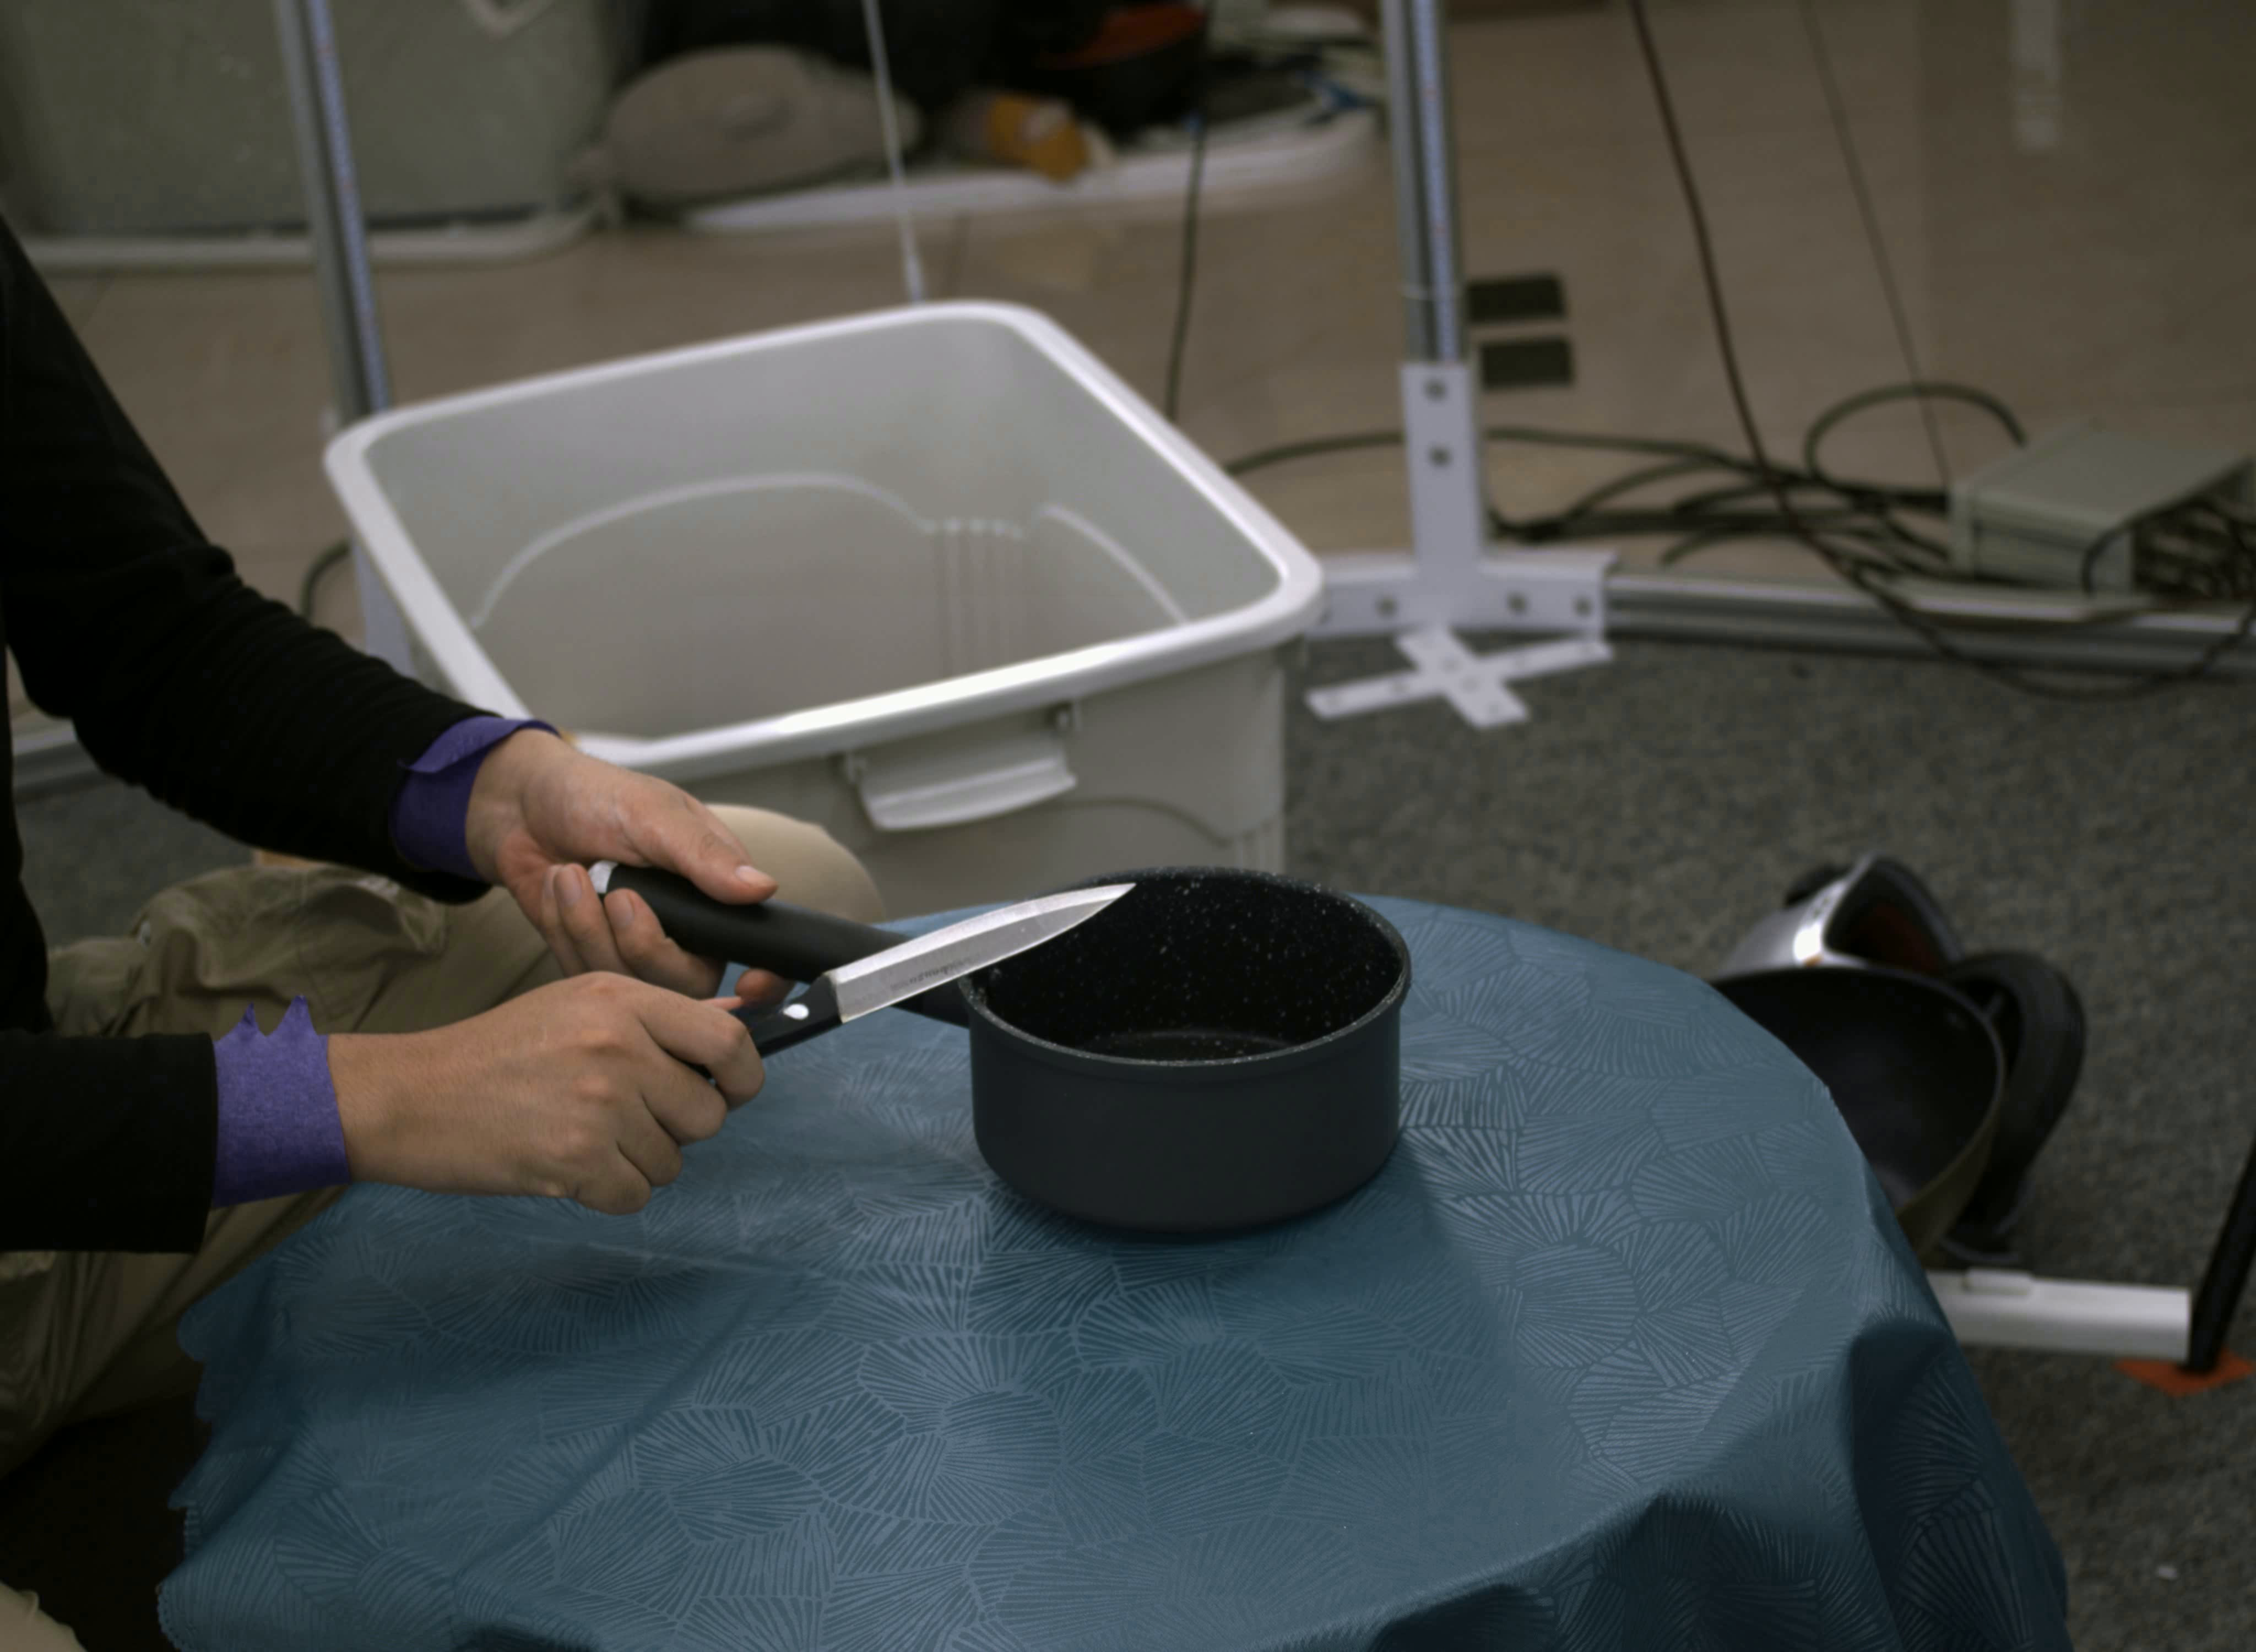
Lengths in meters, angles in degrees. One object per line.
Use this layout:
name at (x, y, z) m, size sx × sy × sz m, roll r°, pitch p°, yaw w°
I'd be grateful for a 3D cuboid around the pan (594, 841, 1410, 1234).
pan at (-0.052, 0.072, 2.179) m, size 0.327 × 0.088 × 0.170 m, roll 9°, pitch 27°, yaw 19°

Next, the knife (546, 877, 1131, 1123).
knife at (-0.105, 0.064, 2.125) m, size 0.237 × 0.016 × 0.024 m, roll -21°, pitch 65°, yaw -14°
